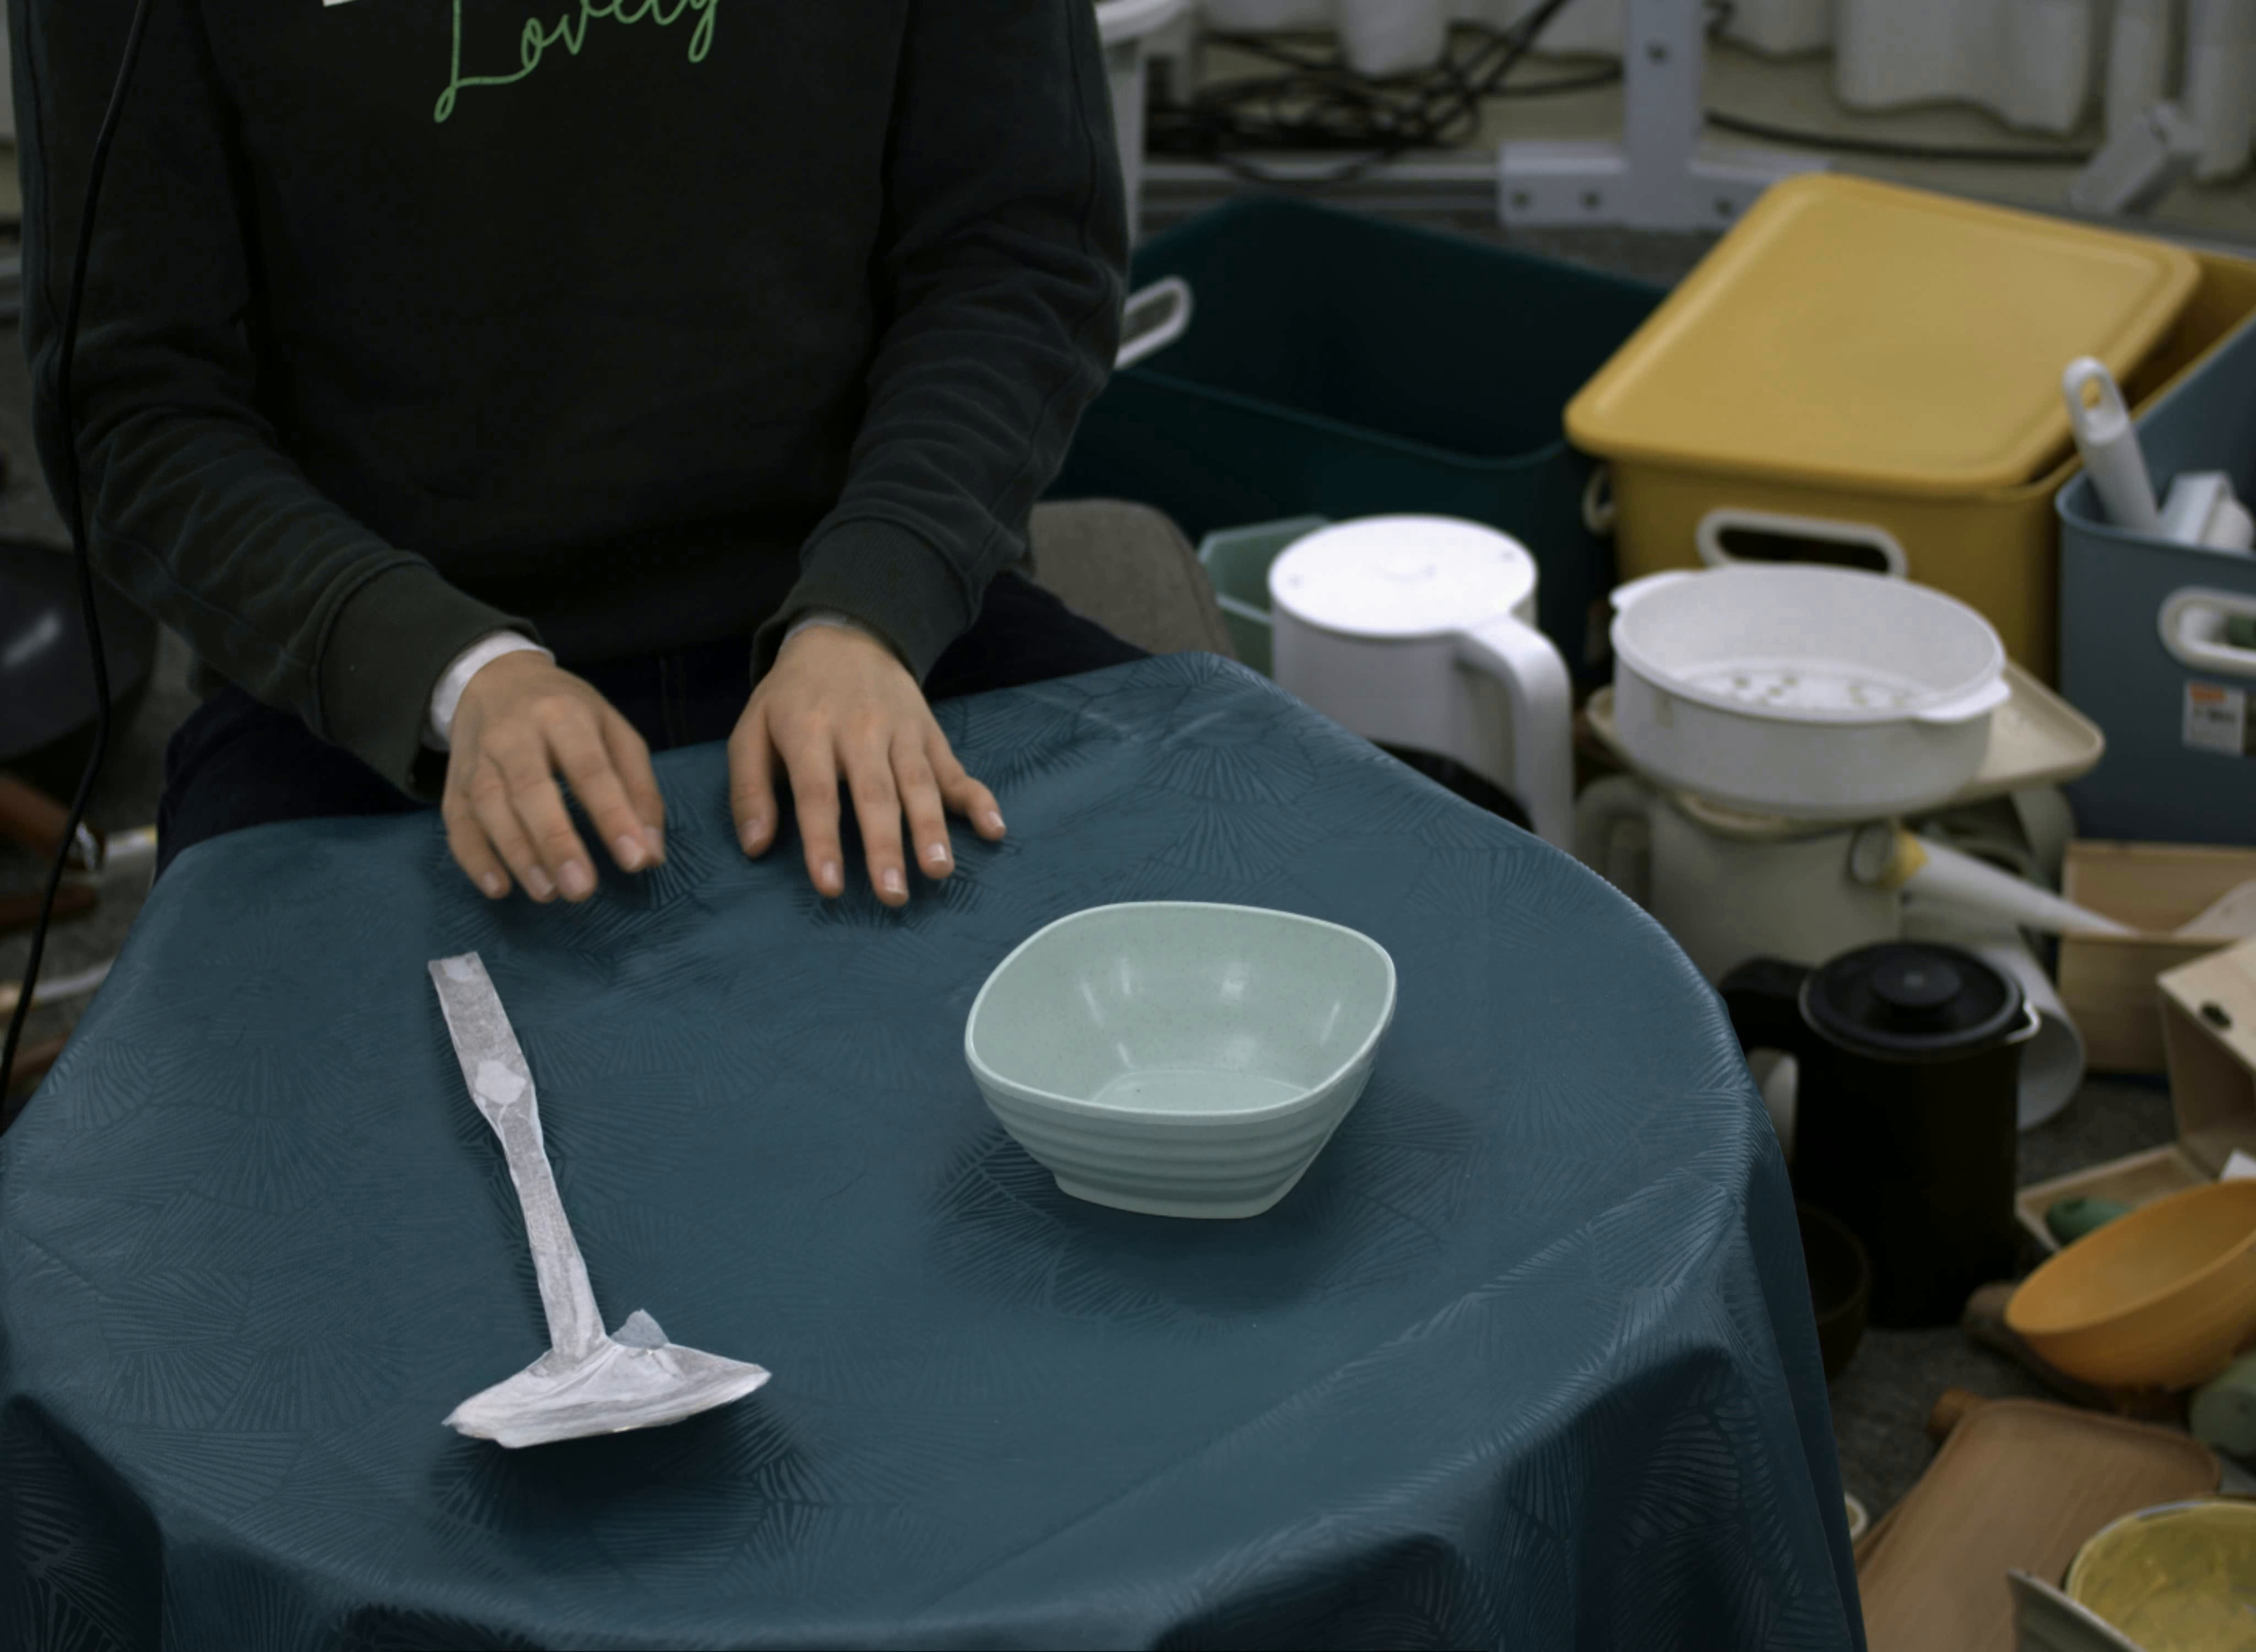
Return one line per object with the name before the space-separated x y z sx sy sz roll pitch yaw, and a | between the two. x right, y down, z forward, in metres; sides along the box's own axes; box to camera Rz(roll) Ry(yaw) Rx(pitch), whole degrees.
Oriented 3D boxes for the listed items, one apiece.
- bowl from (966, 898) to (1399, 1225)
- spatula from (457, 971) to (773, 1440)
bowl | 0.019 0.085 1.872 0.151 0.058 0.154 -1 29 1
spatula | -0.191 0.117 1.848 0.098 0.044 0.369 -10 28 -10
